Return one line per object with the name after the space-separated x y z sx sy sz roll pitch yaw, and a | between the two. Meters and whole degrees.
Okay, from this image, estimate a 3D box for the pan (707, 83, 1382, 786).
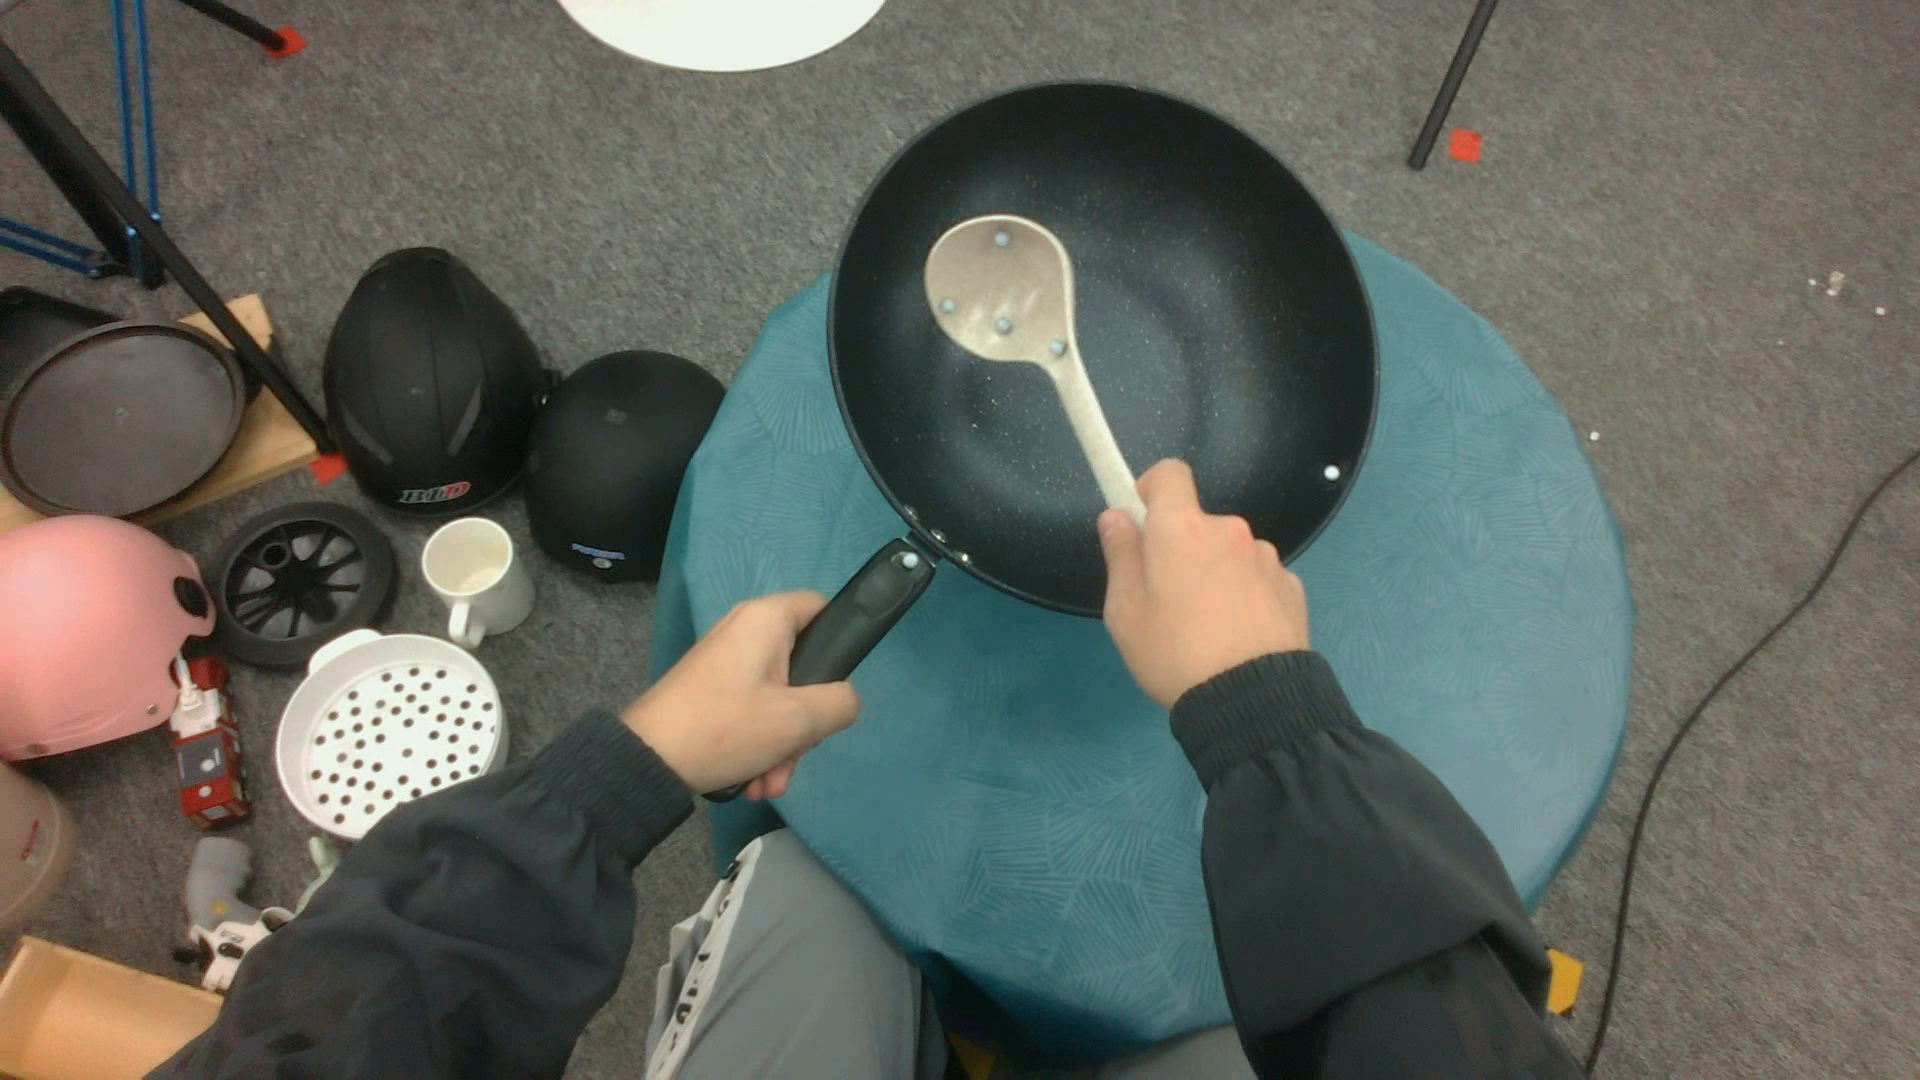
0.030 -0.049 0.768 0.310 0.111 0.478 39 74 4 | pan

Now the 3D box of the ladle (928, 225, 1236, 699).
0.058 -0.041 0.697 0.069 0.089 0.275 -3 60 -34 | ladle
